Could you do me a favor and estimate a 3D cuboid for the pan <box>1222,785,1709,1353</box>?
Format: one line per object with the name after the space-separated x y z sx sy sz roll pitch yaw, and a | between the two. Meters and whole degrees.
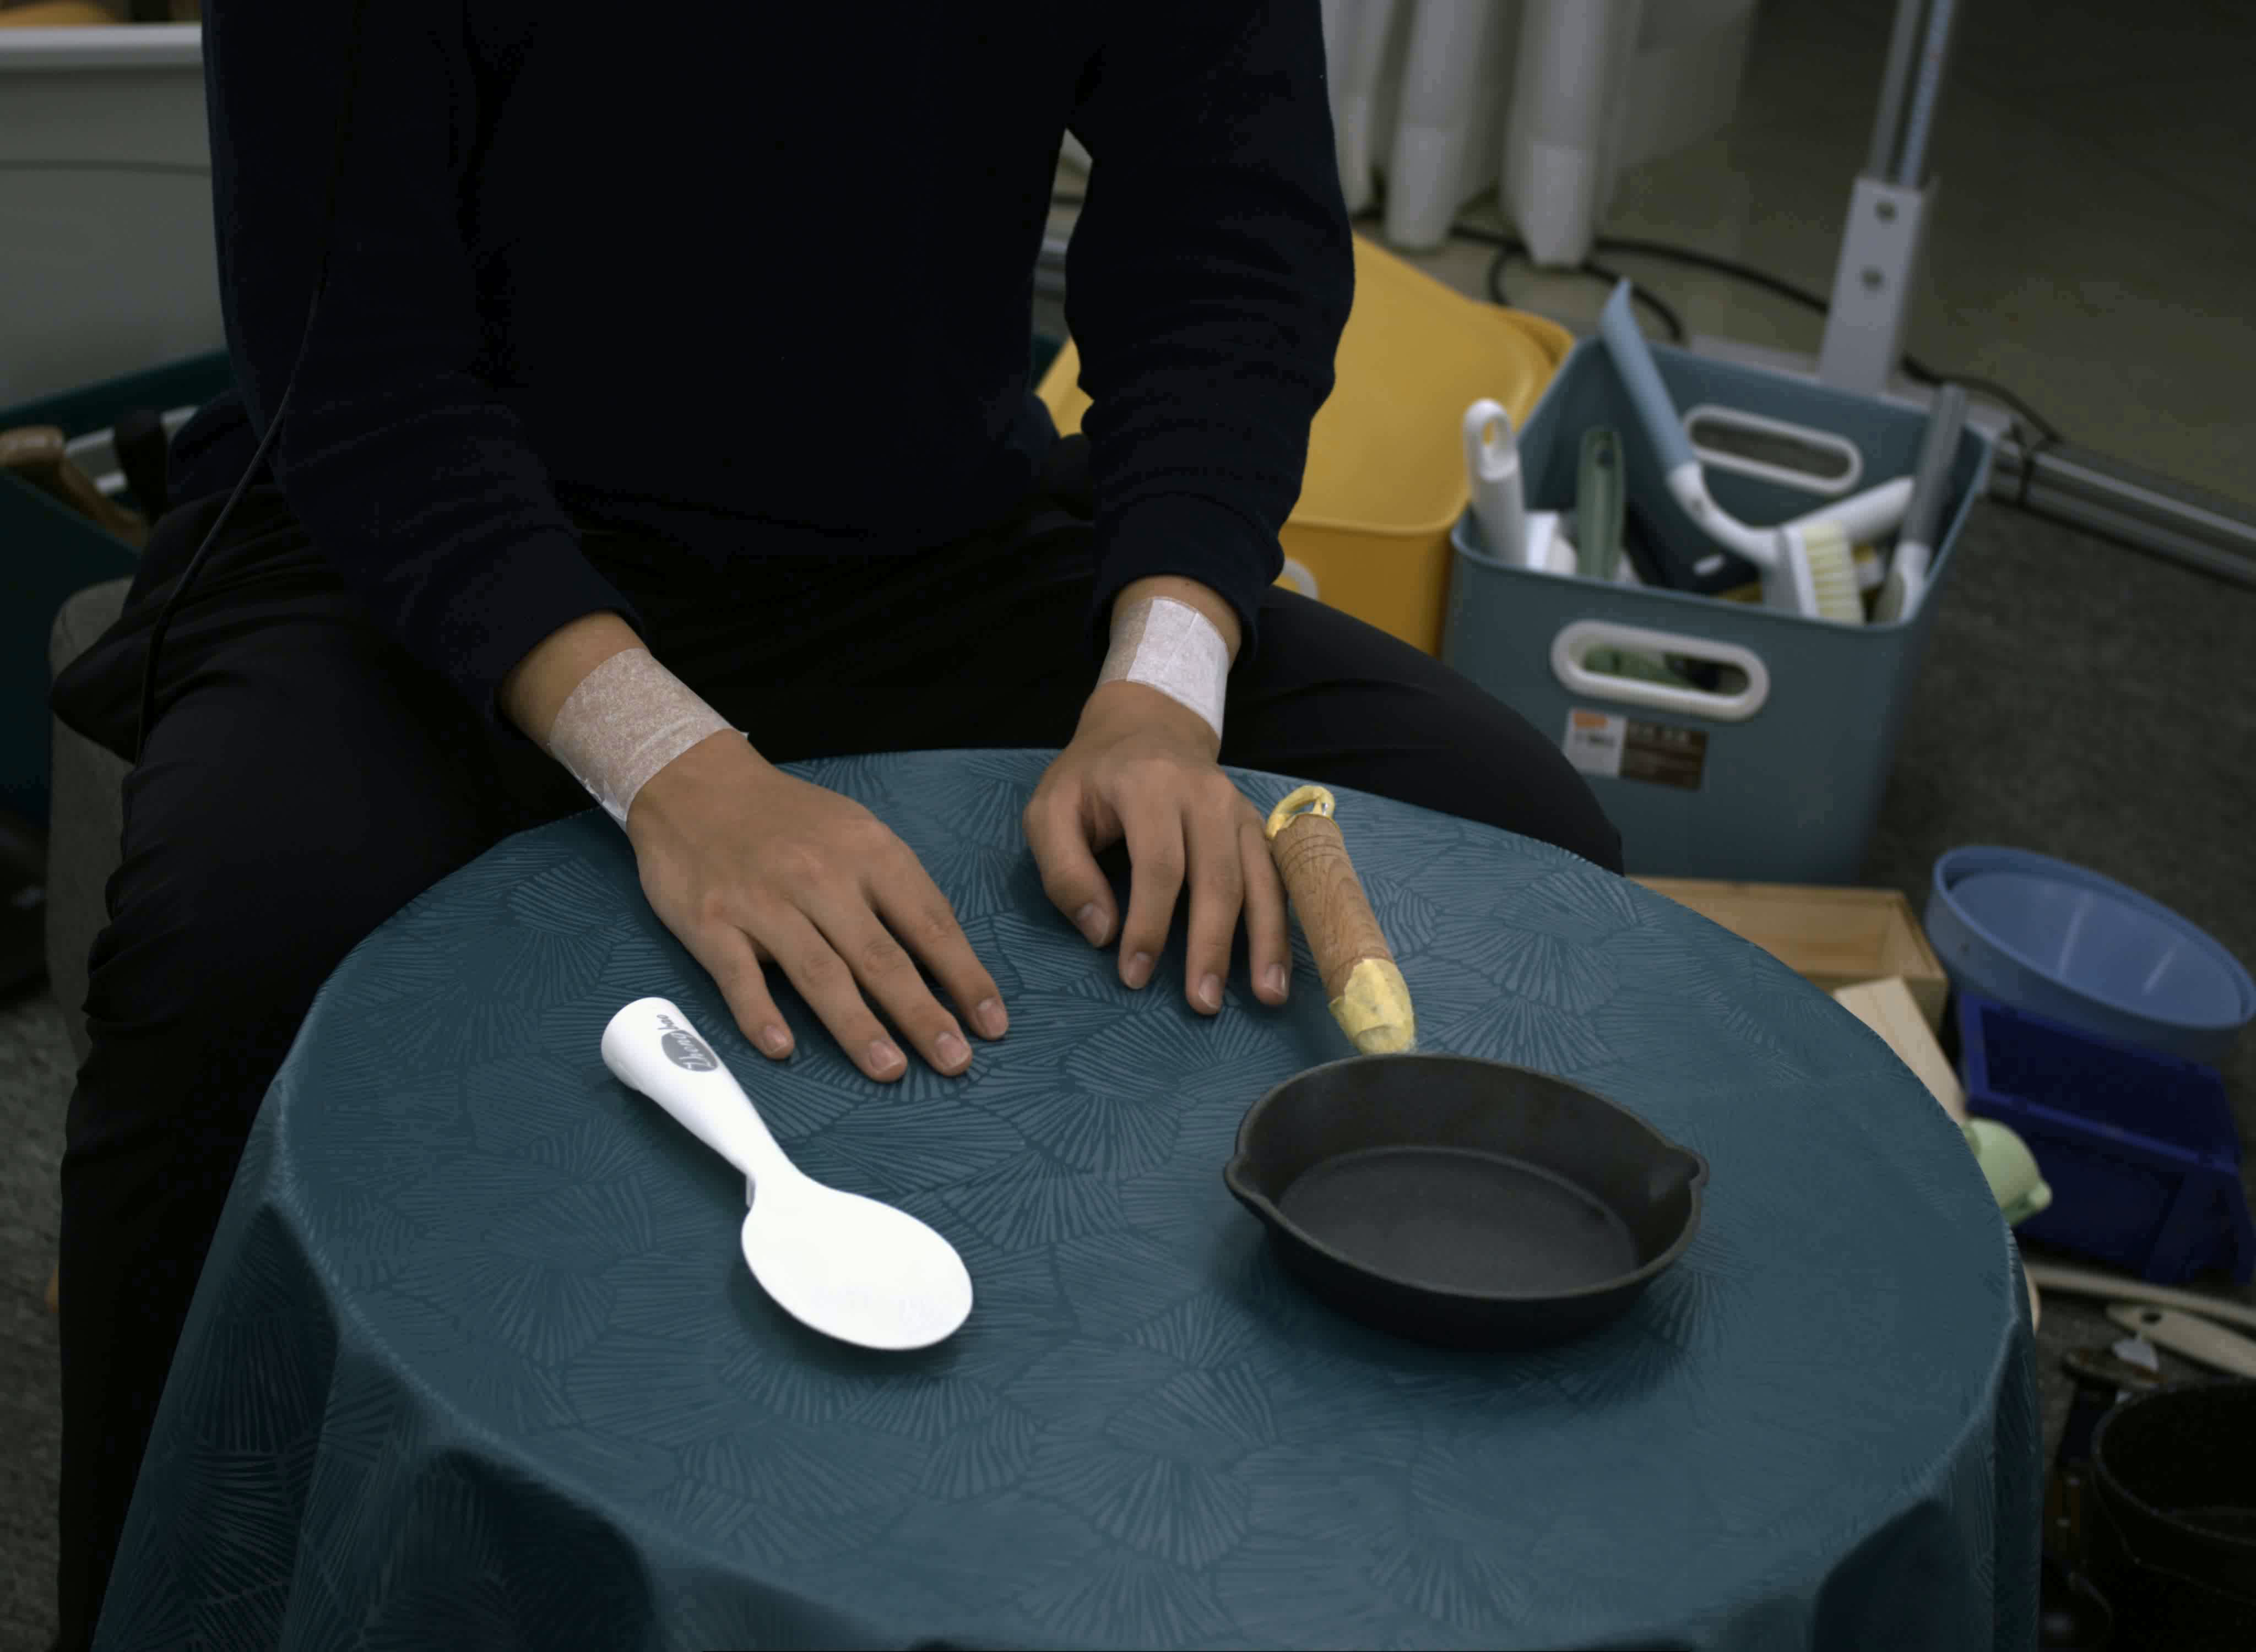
0.096 0.082 1.851 0.168 0.049 0.327 0 29 -13 | pan

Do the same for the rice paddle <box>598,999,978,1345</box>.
-0.116 0.116 1.760 0.068 0.029 0.207 -12 32 -29 | rice paddle
